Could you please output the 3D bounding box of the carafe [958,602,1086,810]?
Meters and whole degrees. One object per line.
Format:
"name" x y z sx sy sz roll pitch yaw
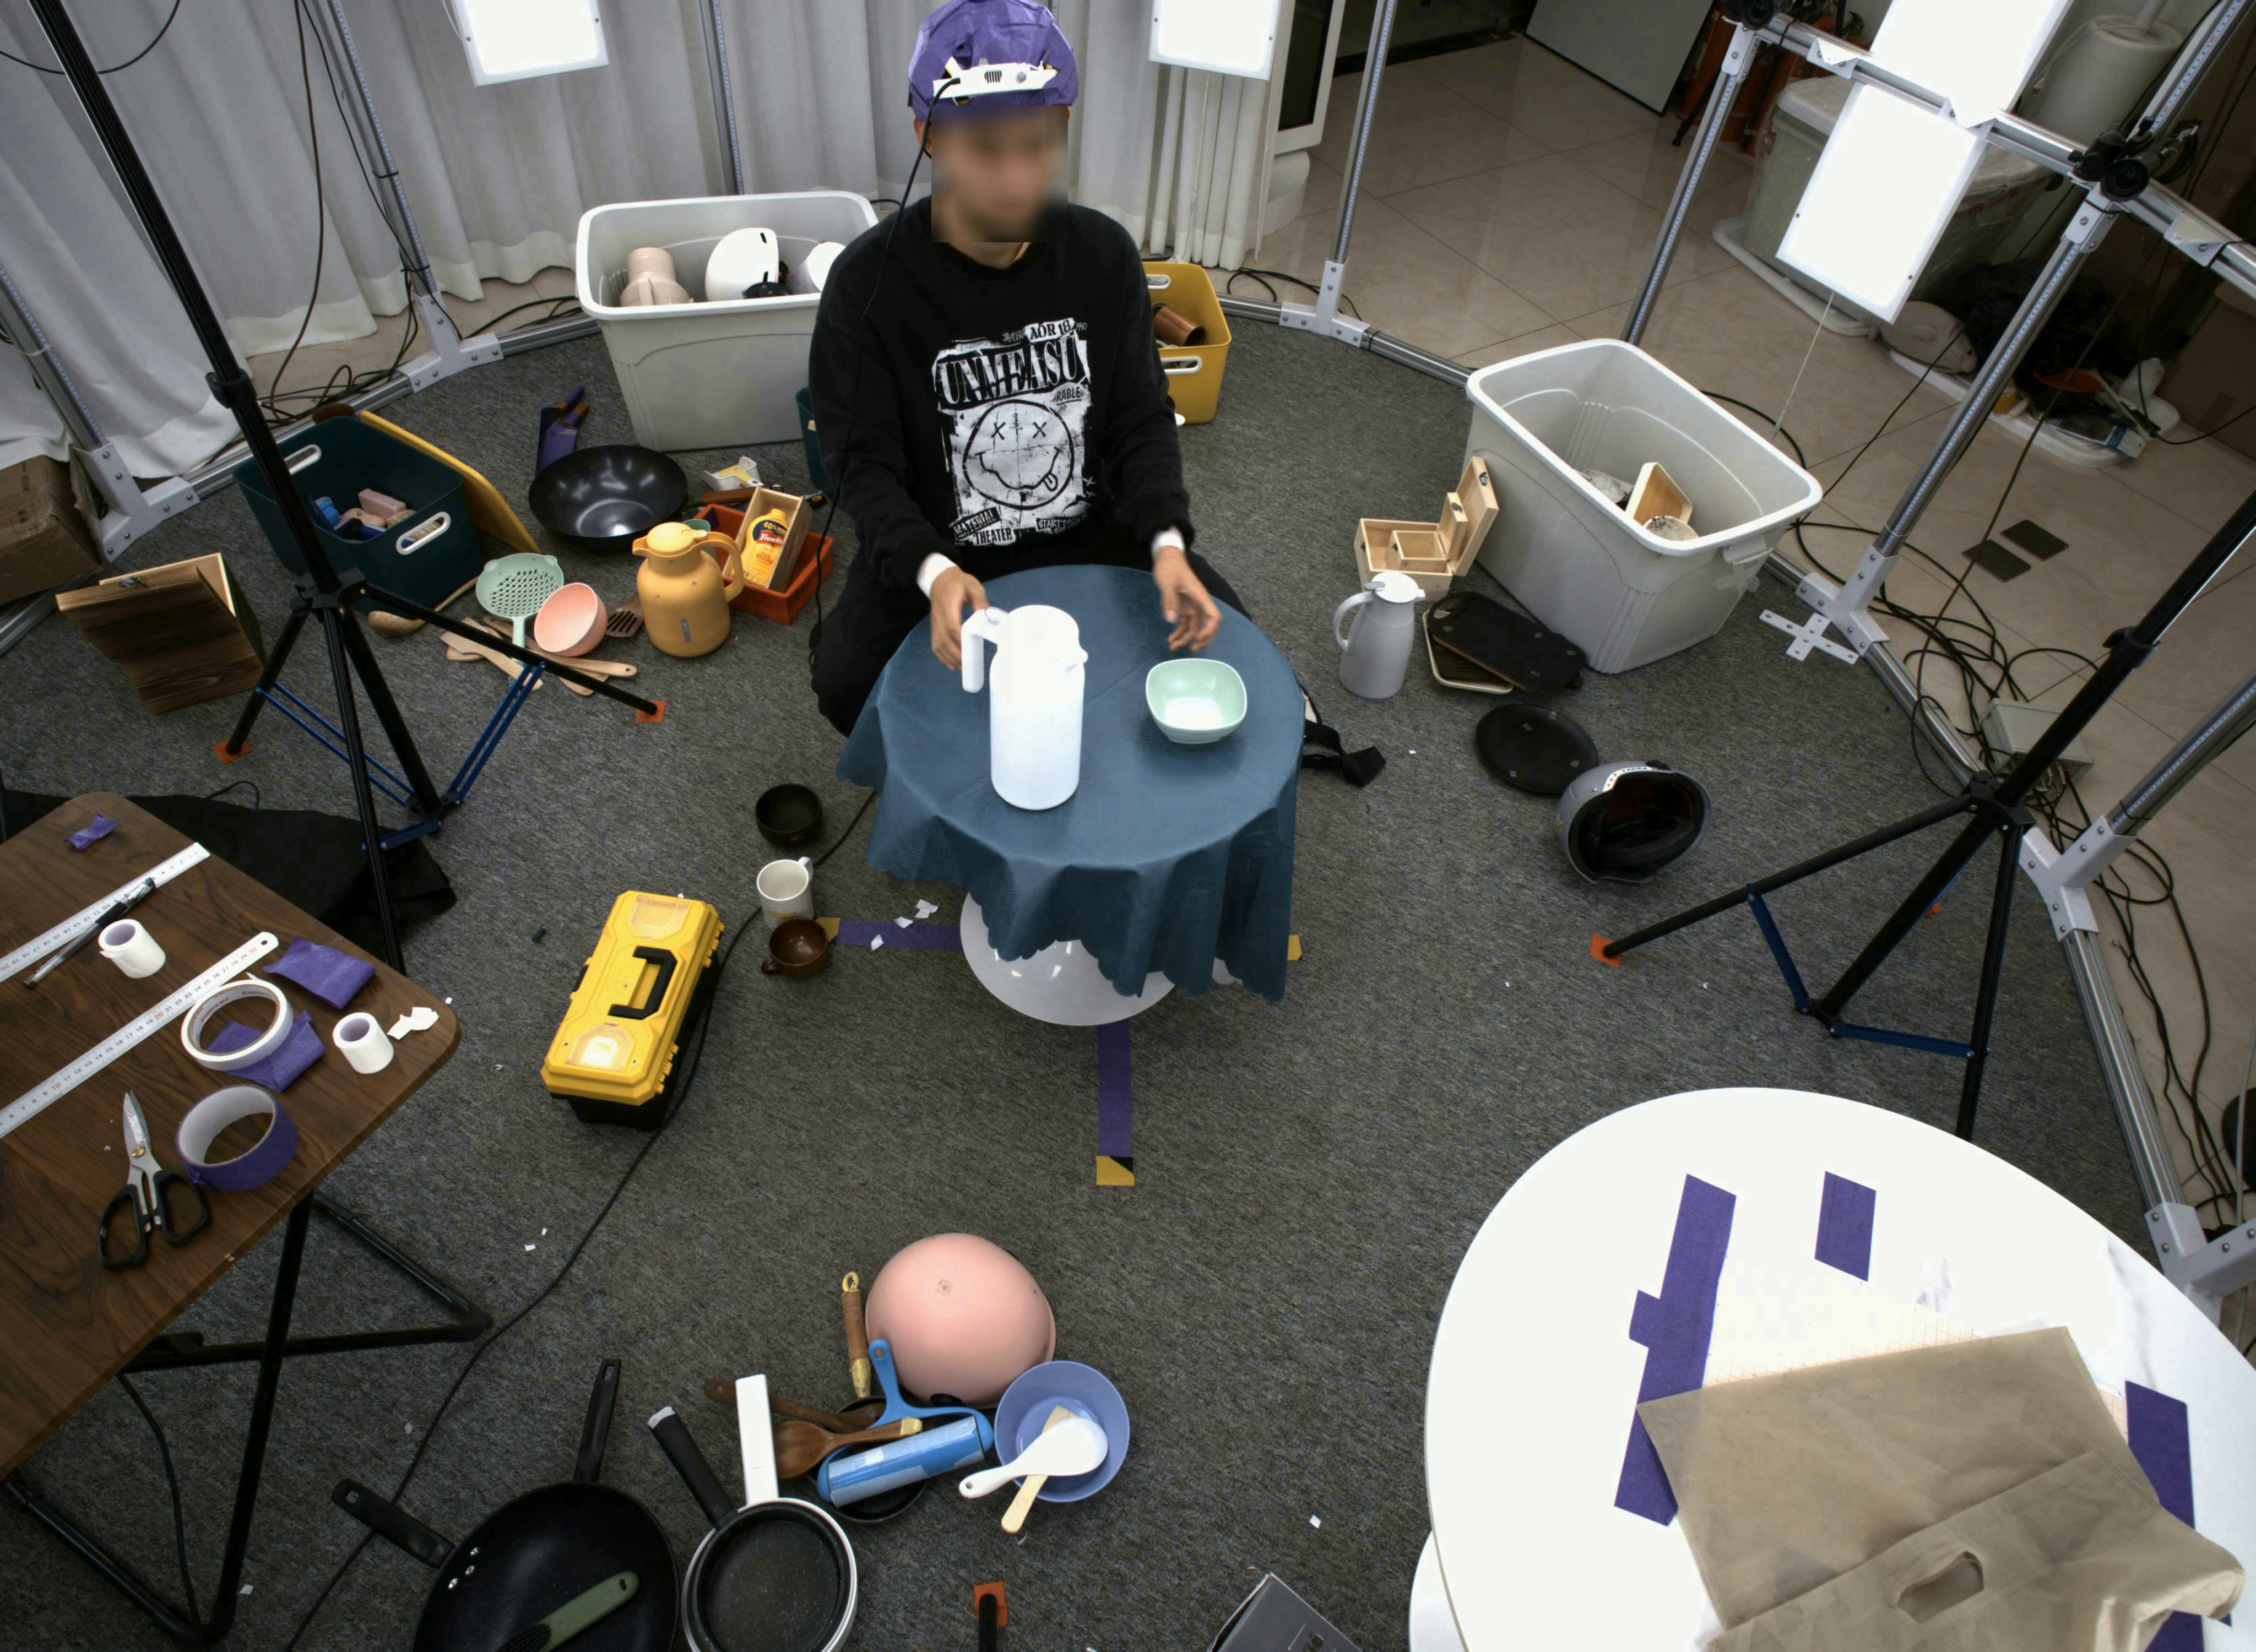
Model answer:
"carafe" -0.133 -0.152 1.621 0.174 0.262 0.126 25 54 17

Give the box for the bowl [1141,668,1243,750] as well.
"bowl" 0.088 -0.156 1.784 0.151 0.057 0.155 0 43 0
